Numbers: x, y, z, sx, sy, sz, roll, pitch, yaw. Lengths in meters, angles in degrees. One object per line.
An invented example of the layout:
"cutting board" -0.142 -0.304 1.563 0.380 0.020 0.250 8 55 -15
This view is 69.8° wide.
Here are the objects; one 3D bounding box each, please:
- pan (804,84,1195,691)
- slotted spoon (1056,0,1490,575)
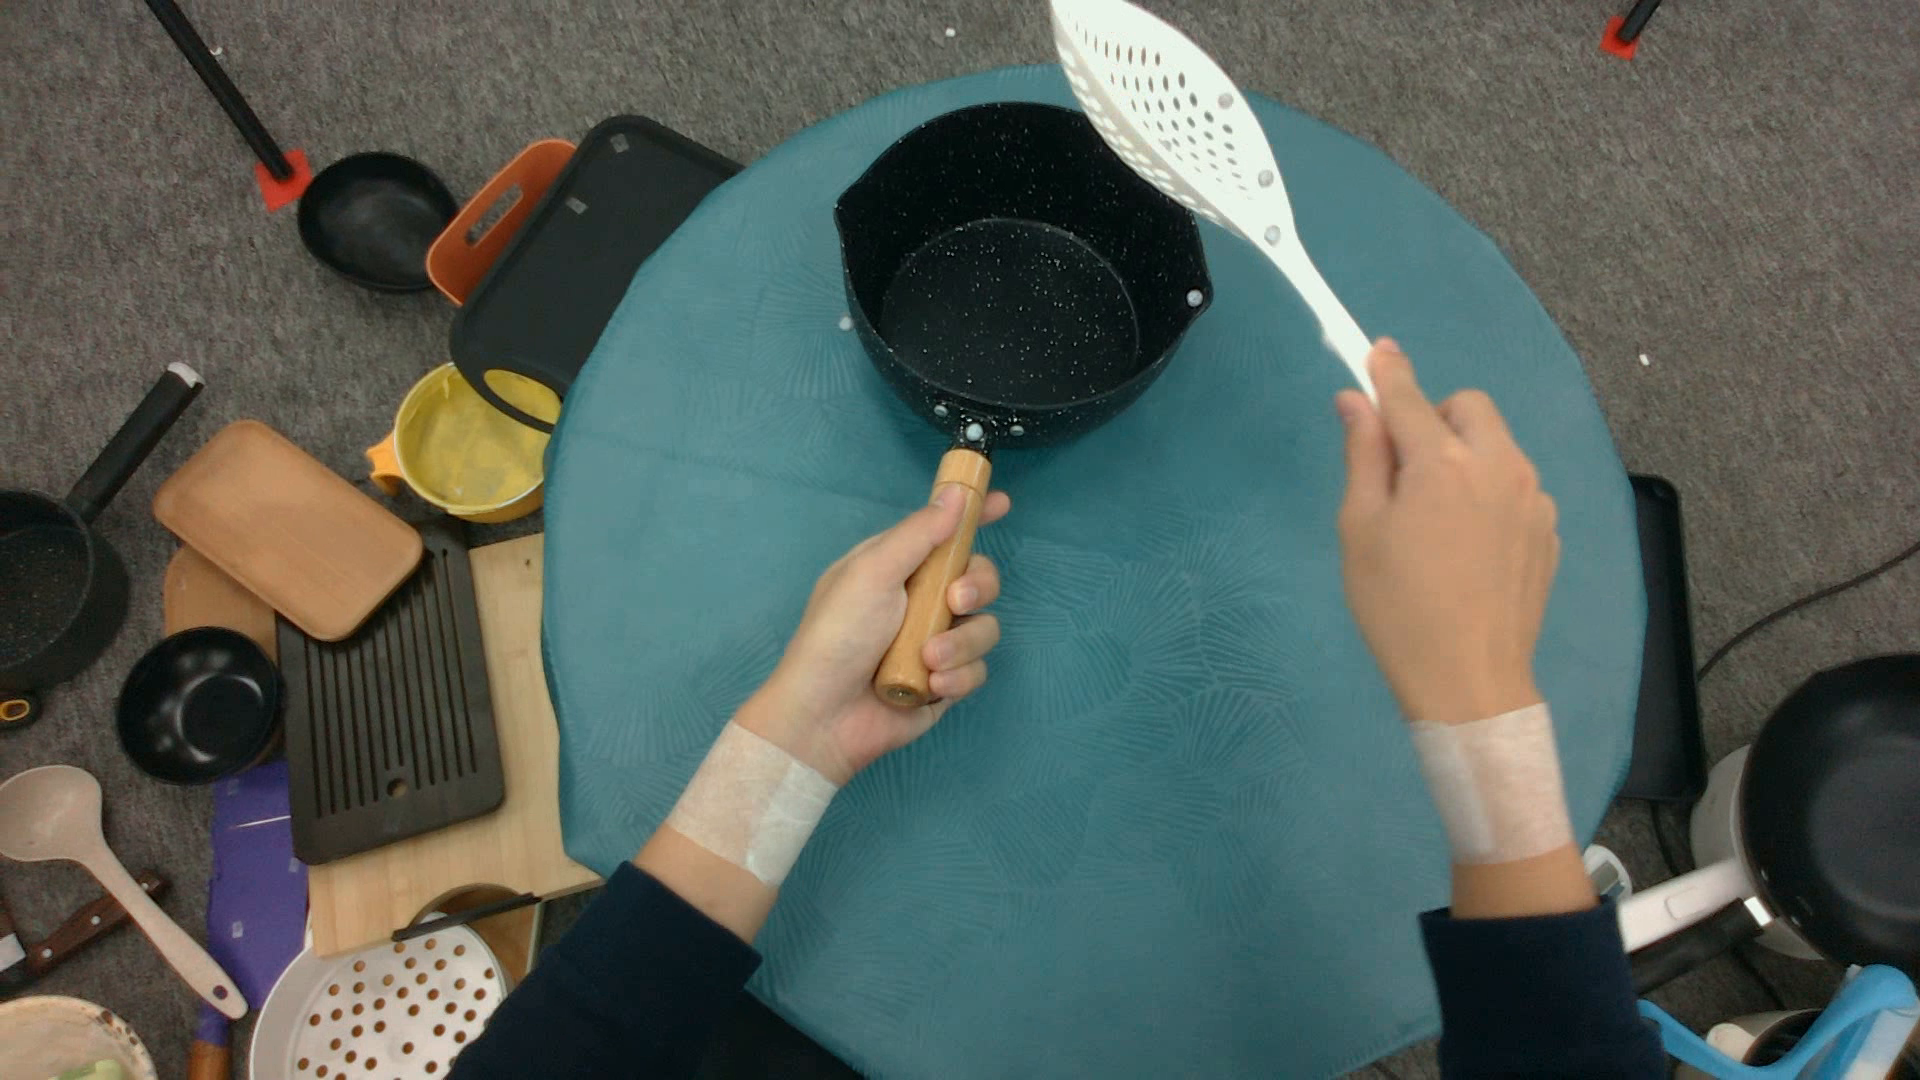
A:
"pan" 0.003 -0.074 0.700 0.207 0.108 0.344 13 67 0
"slotted spoon" 0.141 -0.131 0.630 0.050 0.137 0.348 -47 59 24
